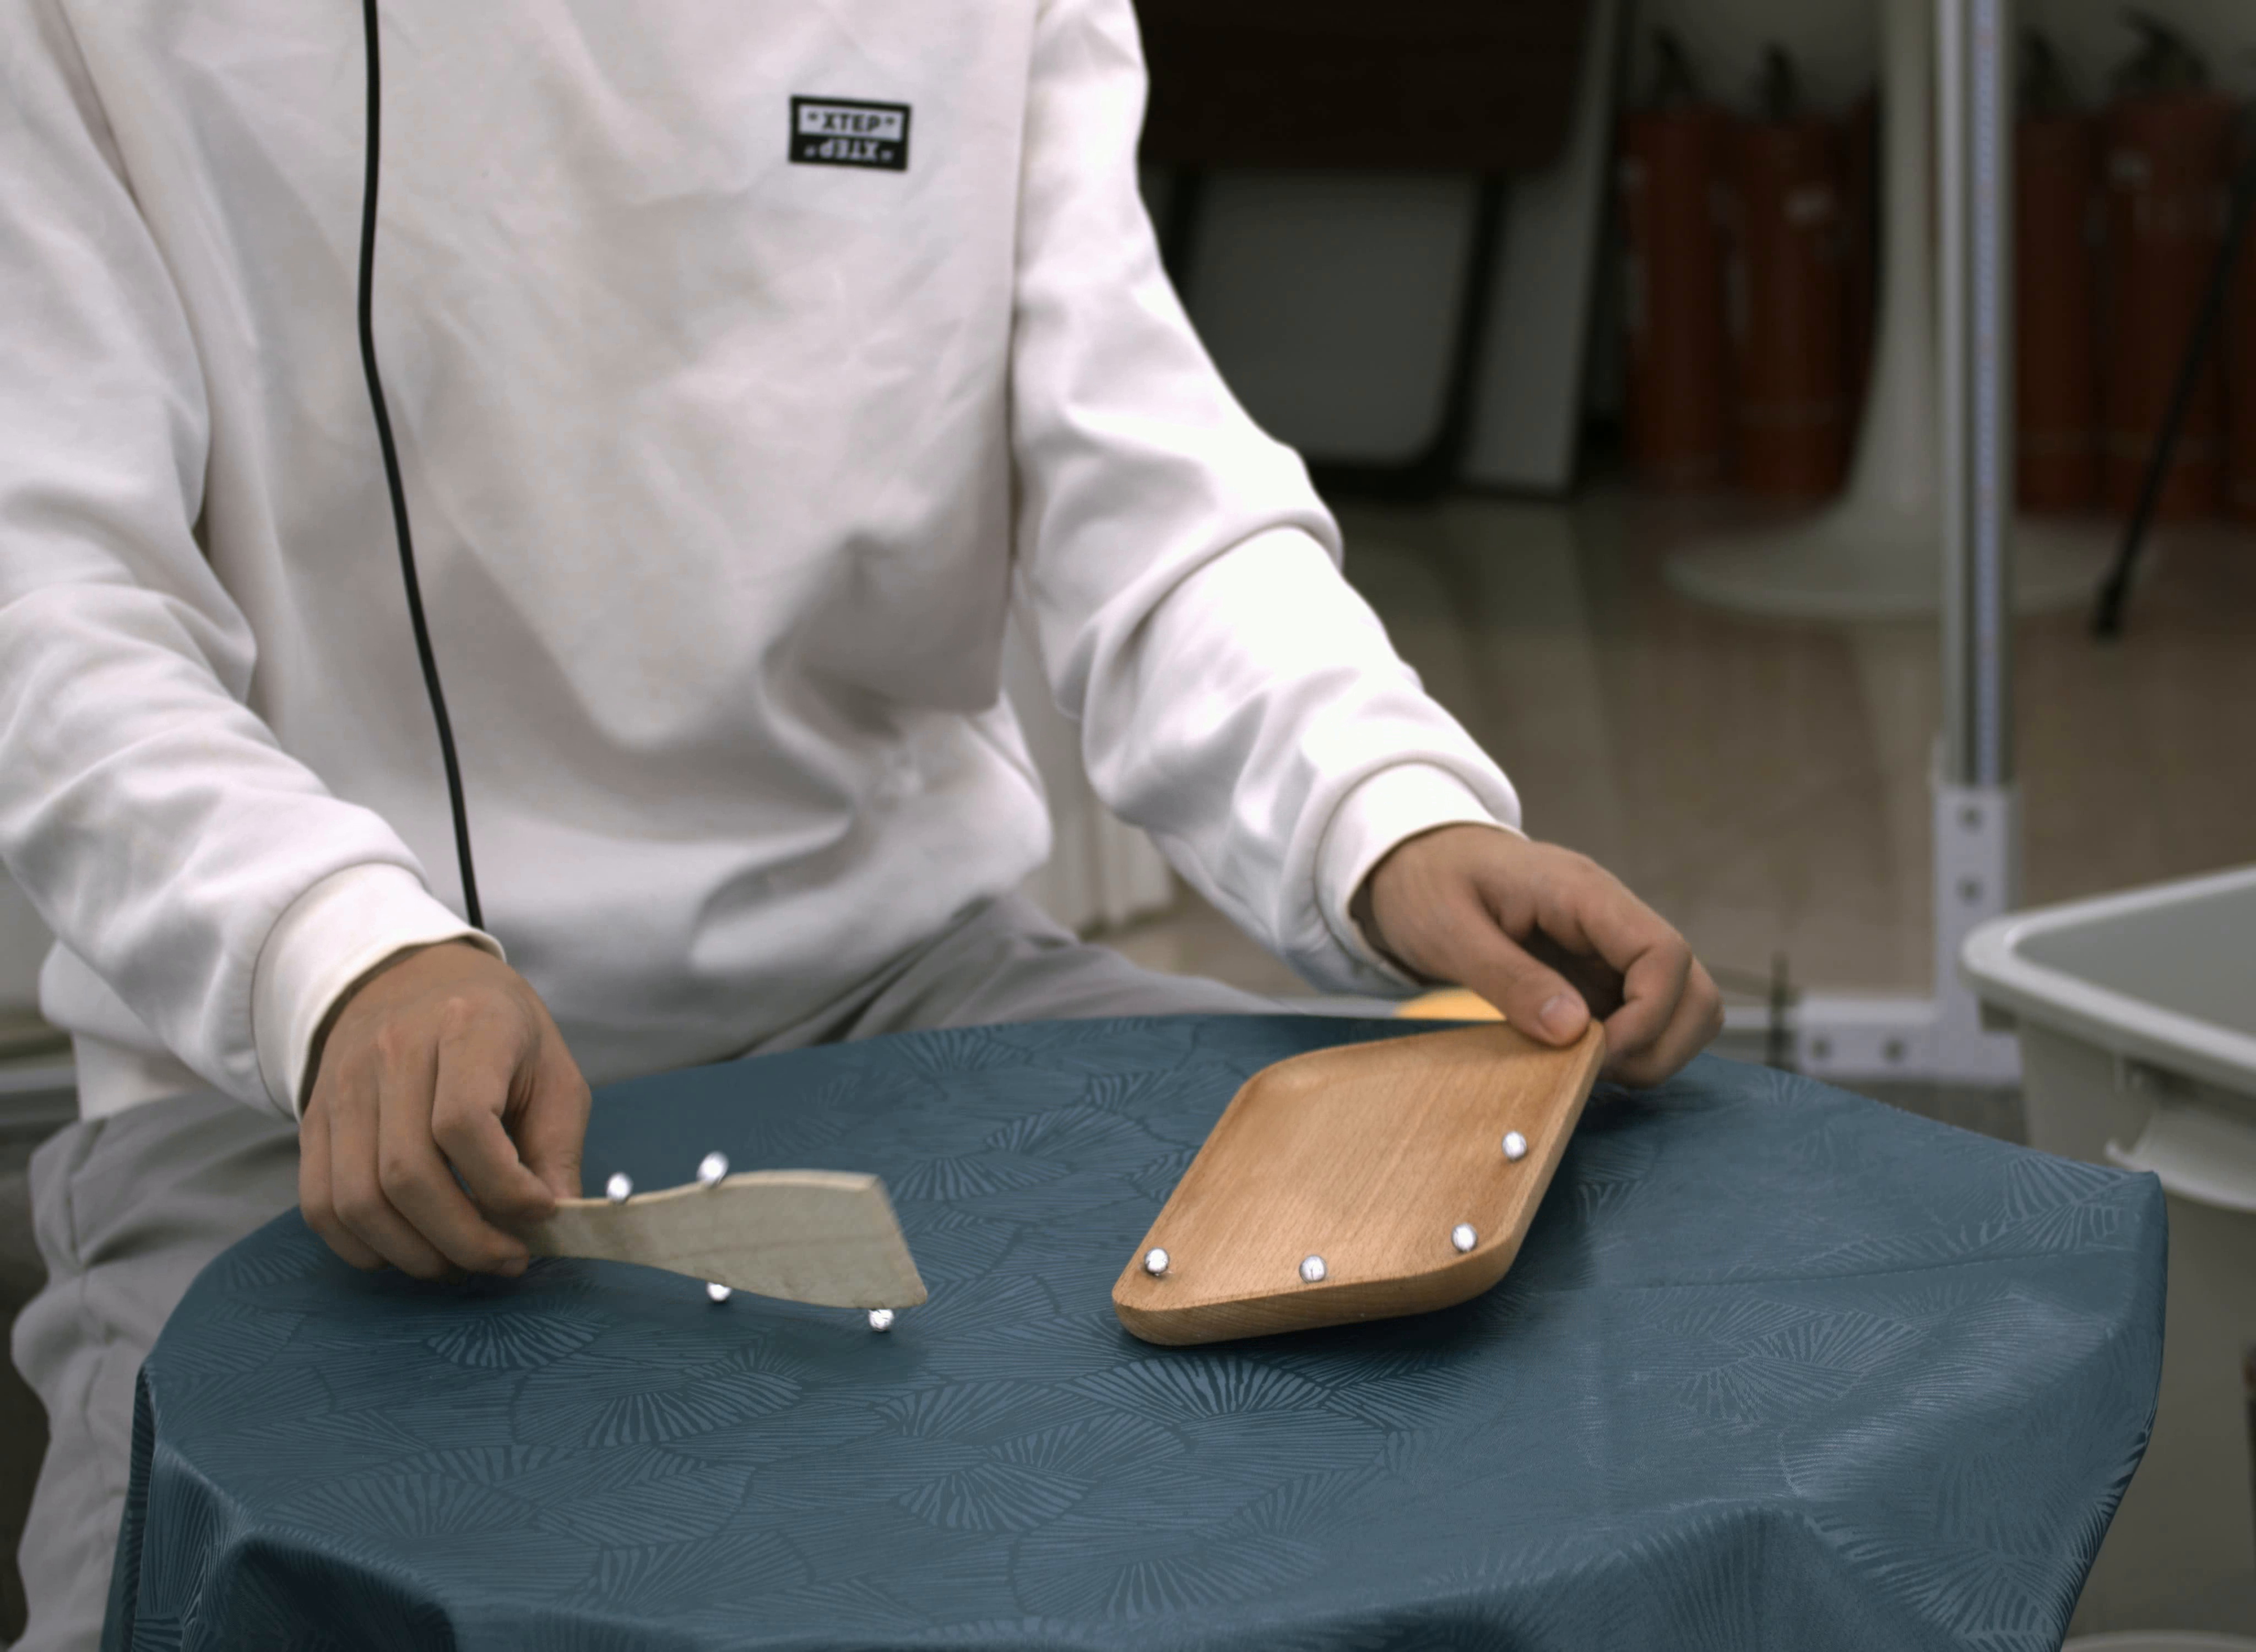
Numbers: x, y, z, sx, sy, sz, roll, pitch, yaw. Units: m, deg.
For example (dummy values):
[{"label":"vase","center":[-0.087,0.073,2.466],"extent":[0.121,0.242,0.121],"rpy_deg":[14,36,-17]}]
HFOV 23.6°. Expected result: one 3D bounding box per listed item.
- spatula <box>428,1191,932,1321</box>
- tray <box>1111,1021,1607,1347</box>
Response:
[{"label":"spatula","center":[-0.146,0.132,1.689],"extent":[0.209,0.050,0.005],"rpy_deg":[-1,37,41]},{"label":"tray","center":[0.078,0.112,1.713],"extent":[0.130,0.023,0.249],"rpy_deg":[-6,13,16]}]
